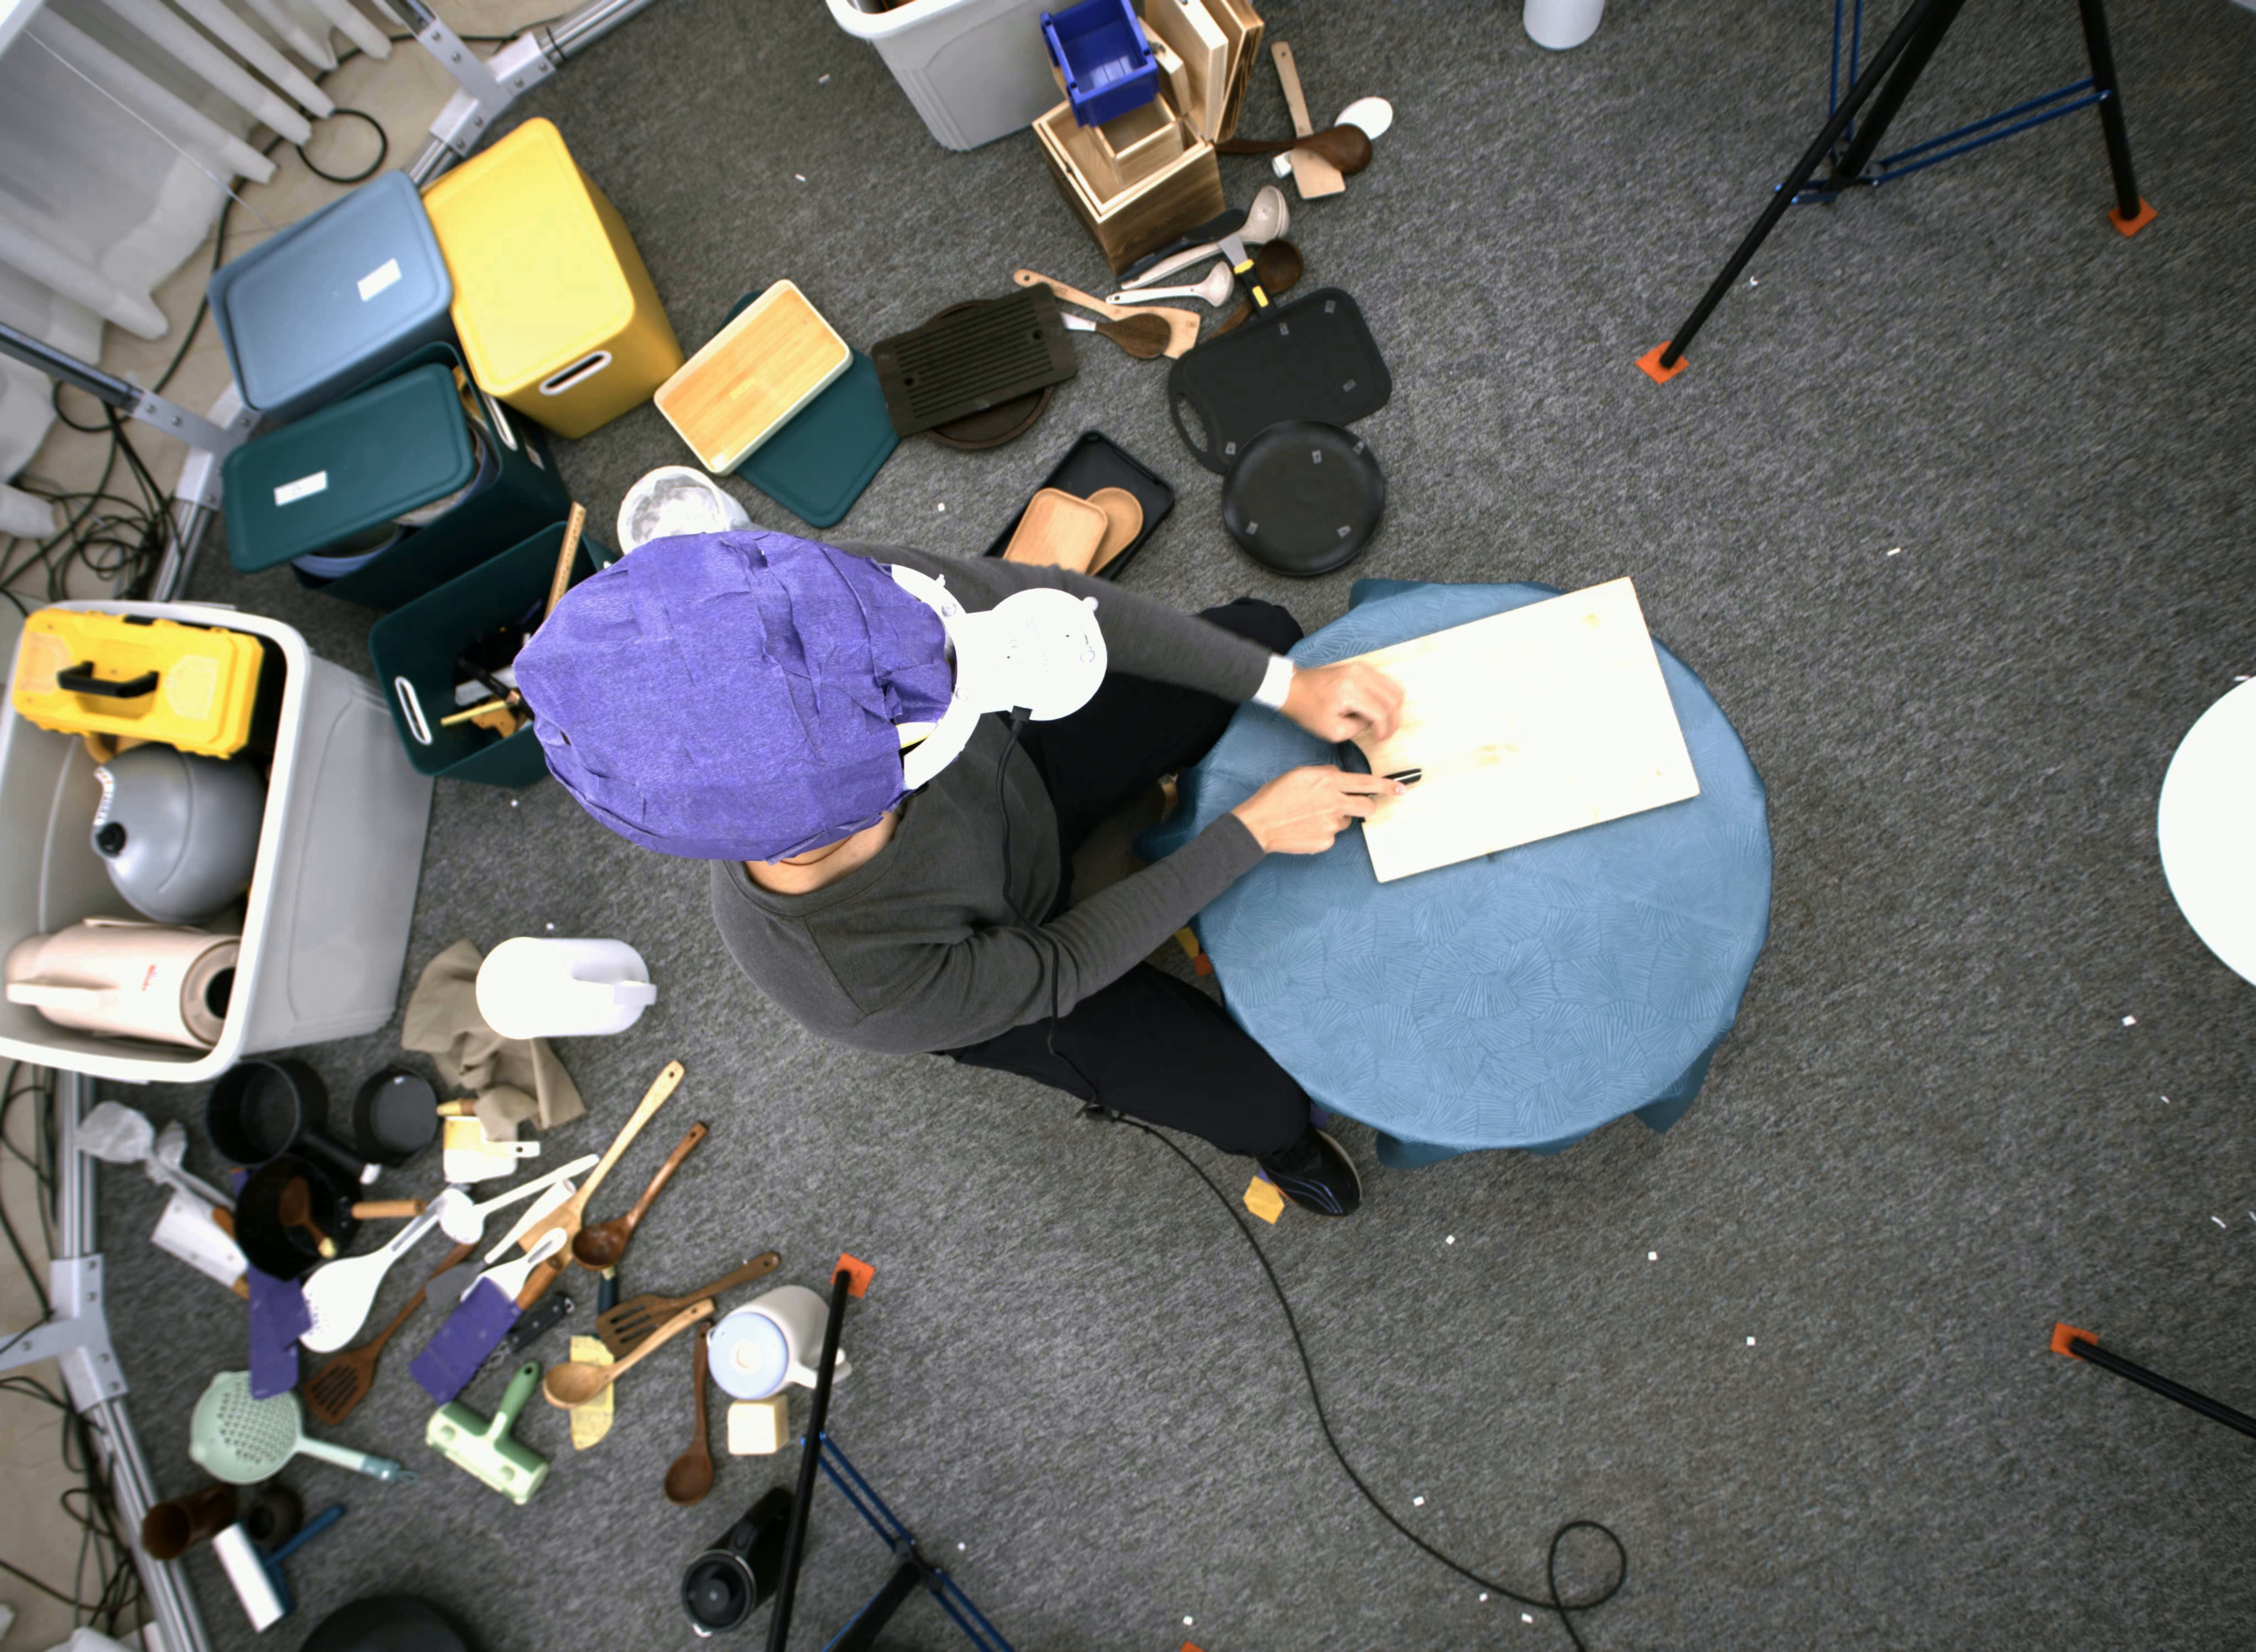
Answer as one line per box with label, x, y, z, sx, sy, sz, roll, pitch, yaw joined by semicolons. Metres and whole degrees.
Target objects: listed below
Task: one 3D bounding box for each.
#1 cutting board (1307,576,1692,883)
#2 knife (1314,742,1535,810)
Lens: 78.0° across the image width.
cutting board;0.389;-0.102;1.439;0.350;0.023;0.249;-17;83;9
knife;0.307;-0.057;1.420;0.238;0.024;0.016;-16;80;2
